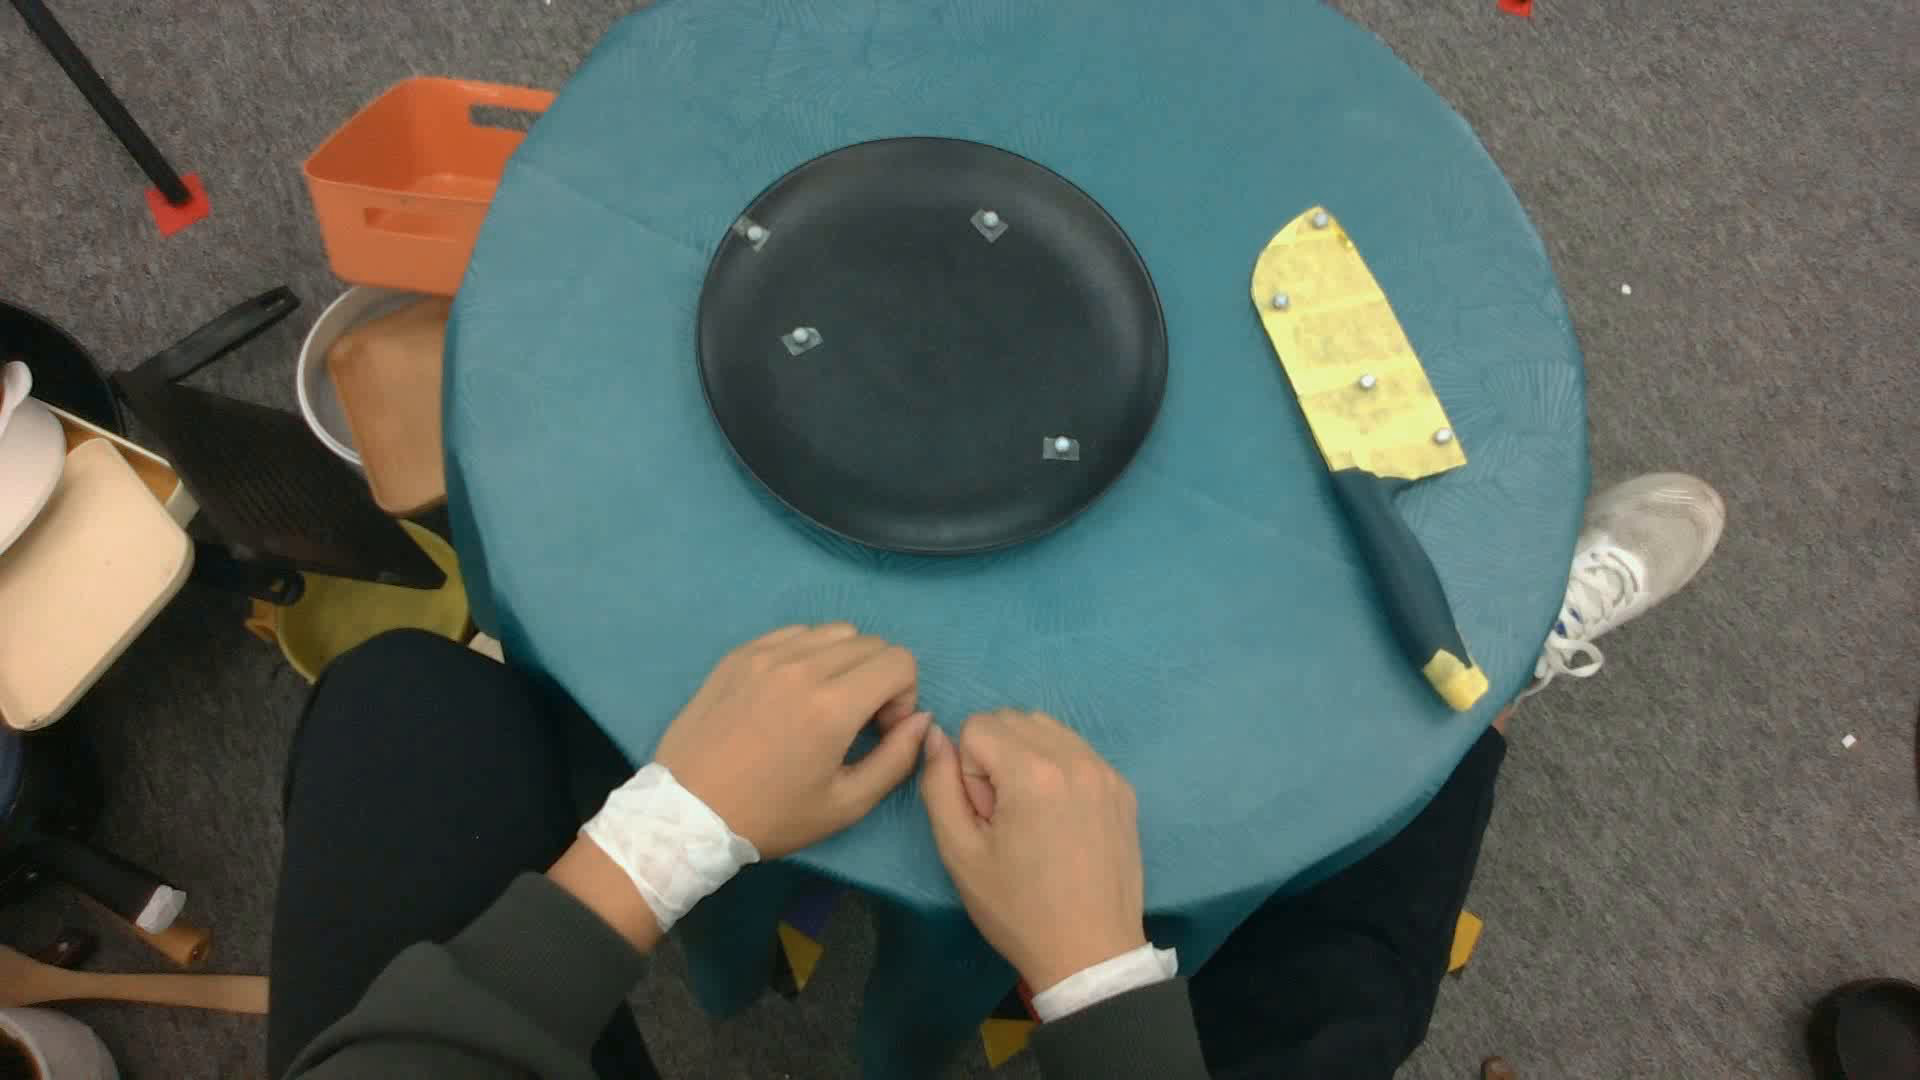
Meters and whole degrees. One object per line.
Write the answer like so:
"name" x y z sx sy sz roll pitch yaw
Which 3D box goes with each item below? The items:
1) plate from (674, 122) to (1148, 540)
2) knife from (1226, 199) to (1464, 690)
"plate" -0.023 -0.111 0.712 0.244 0.023 0.245 2 68 -6
"knife" 0.210 -0.061 0.724 0.081 0.027 0.290 -12 70 -9
